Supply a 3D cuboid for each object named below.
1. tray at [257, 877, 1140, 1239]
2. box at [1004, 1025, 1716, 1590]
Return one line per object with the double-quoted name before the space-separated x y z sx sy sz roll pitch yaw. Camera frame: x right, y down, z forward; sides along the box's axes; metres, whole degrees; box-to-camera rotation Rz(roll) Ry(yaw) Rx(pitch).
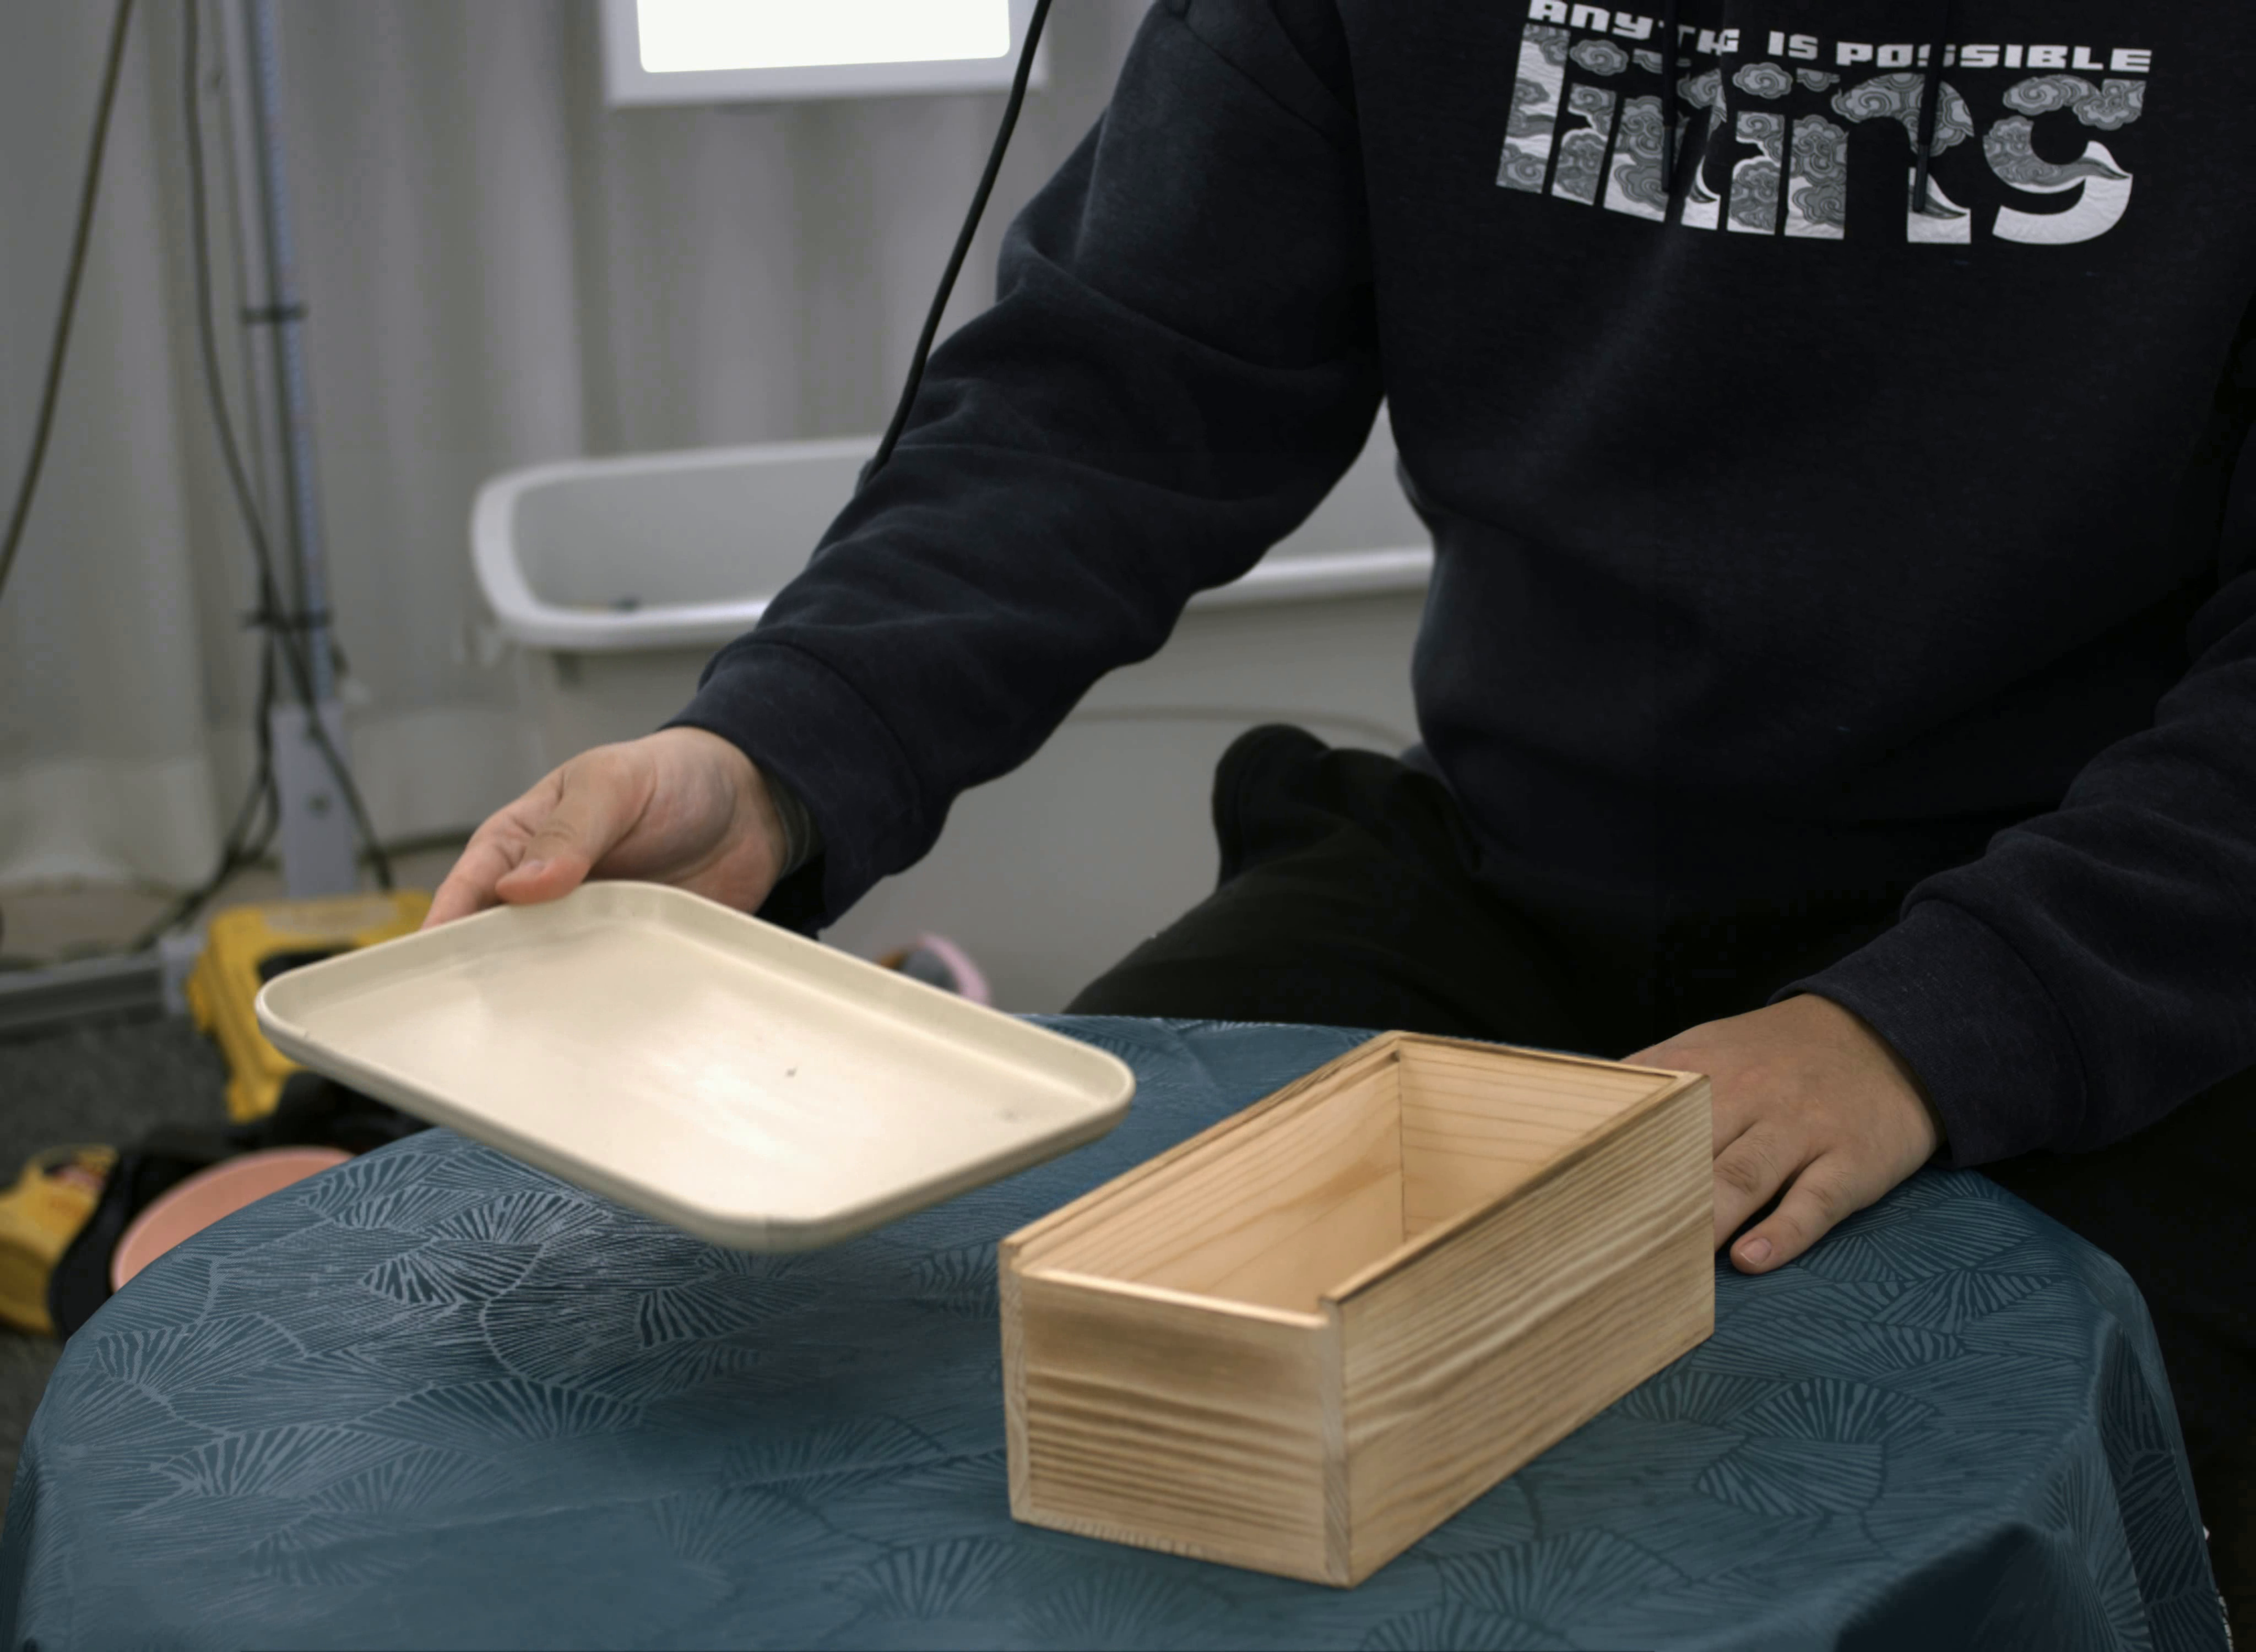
"tray" -0.128 0.067 1.619 0.241 0.017 0.171 18 24 39
"box" 0.068 0.127 1.503 0.108 0.080 0.211 7 17 31
